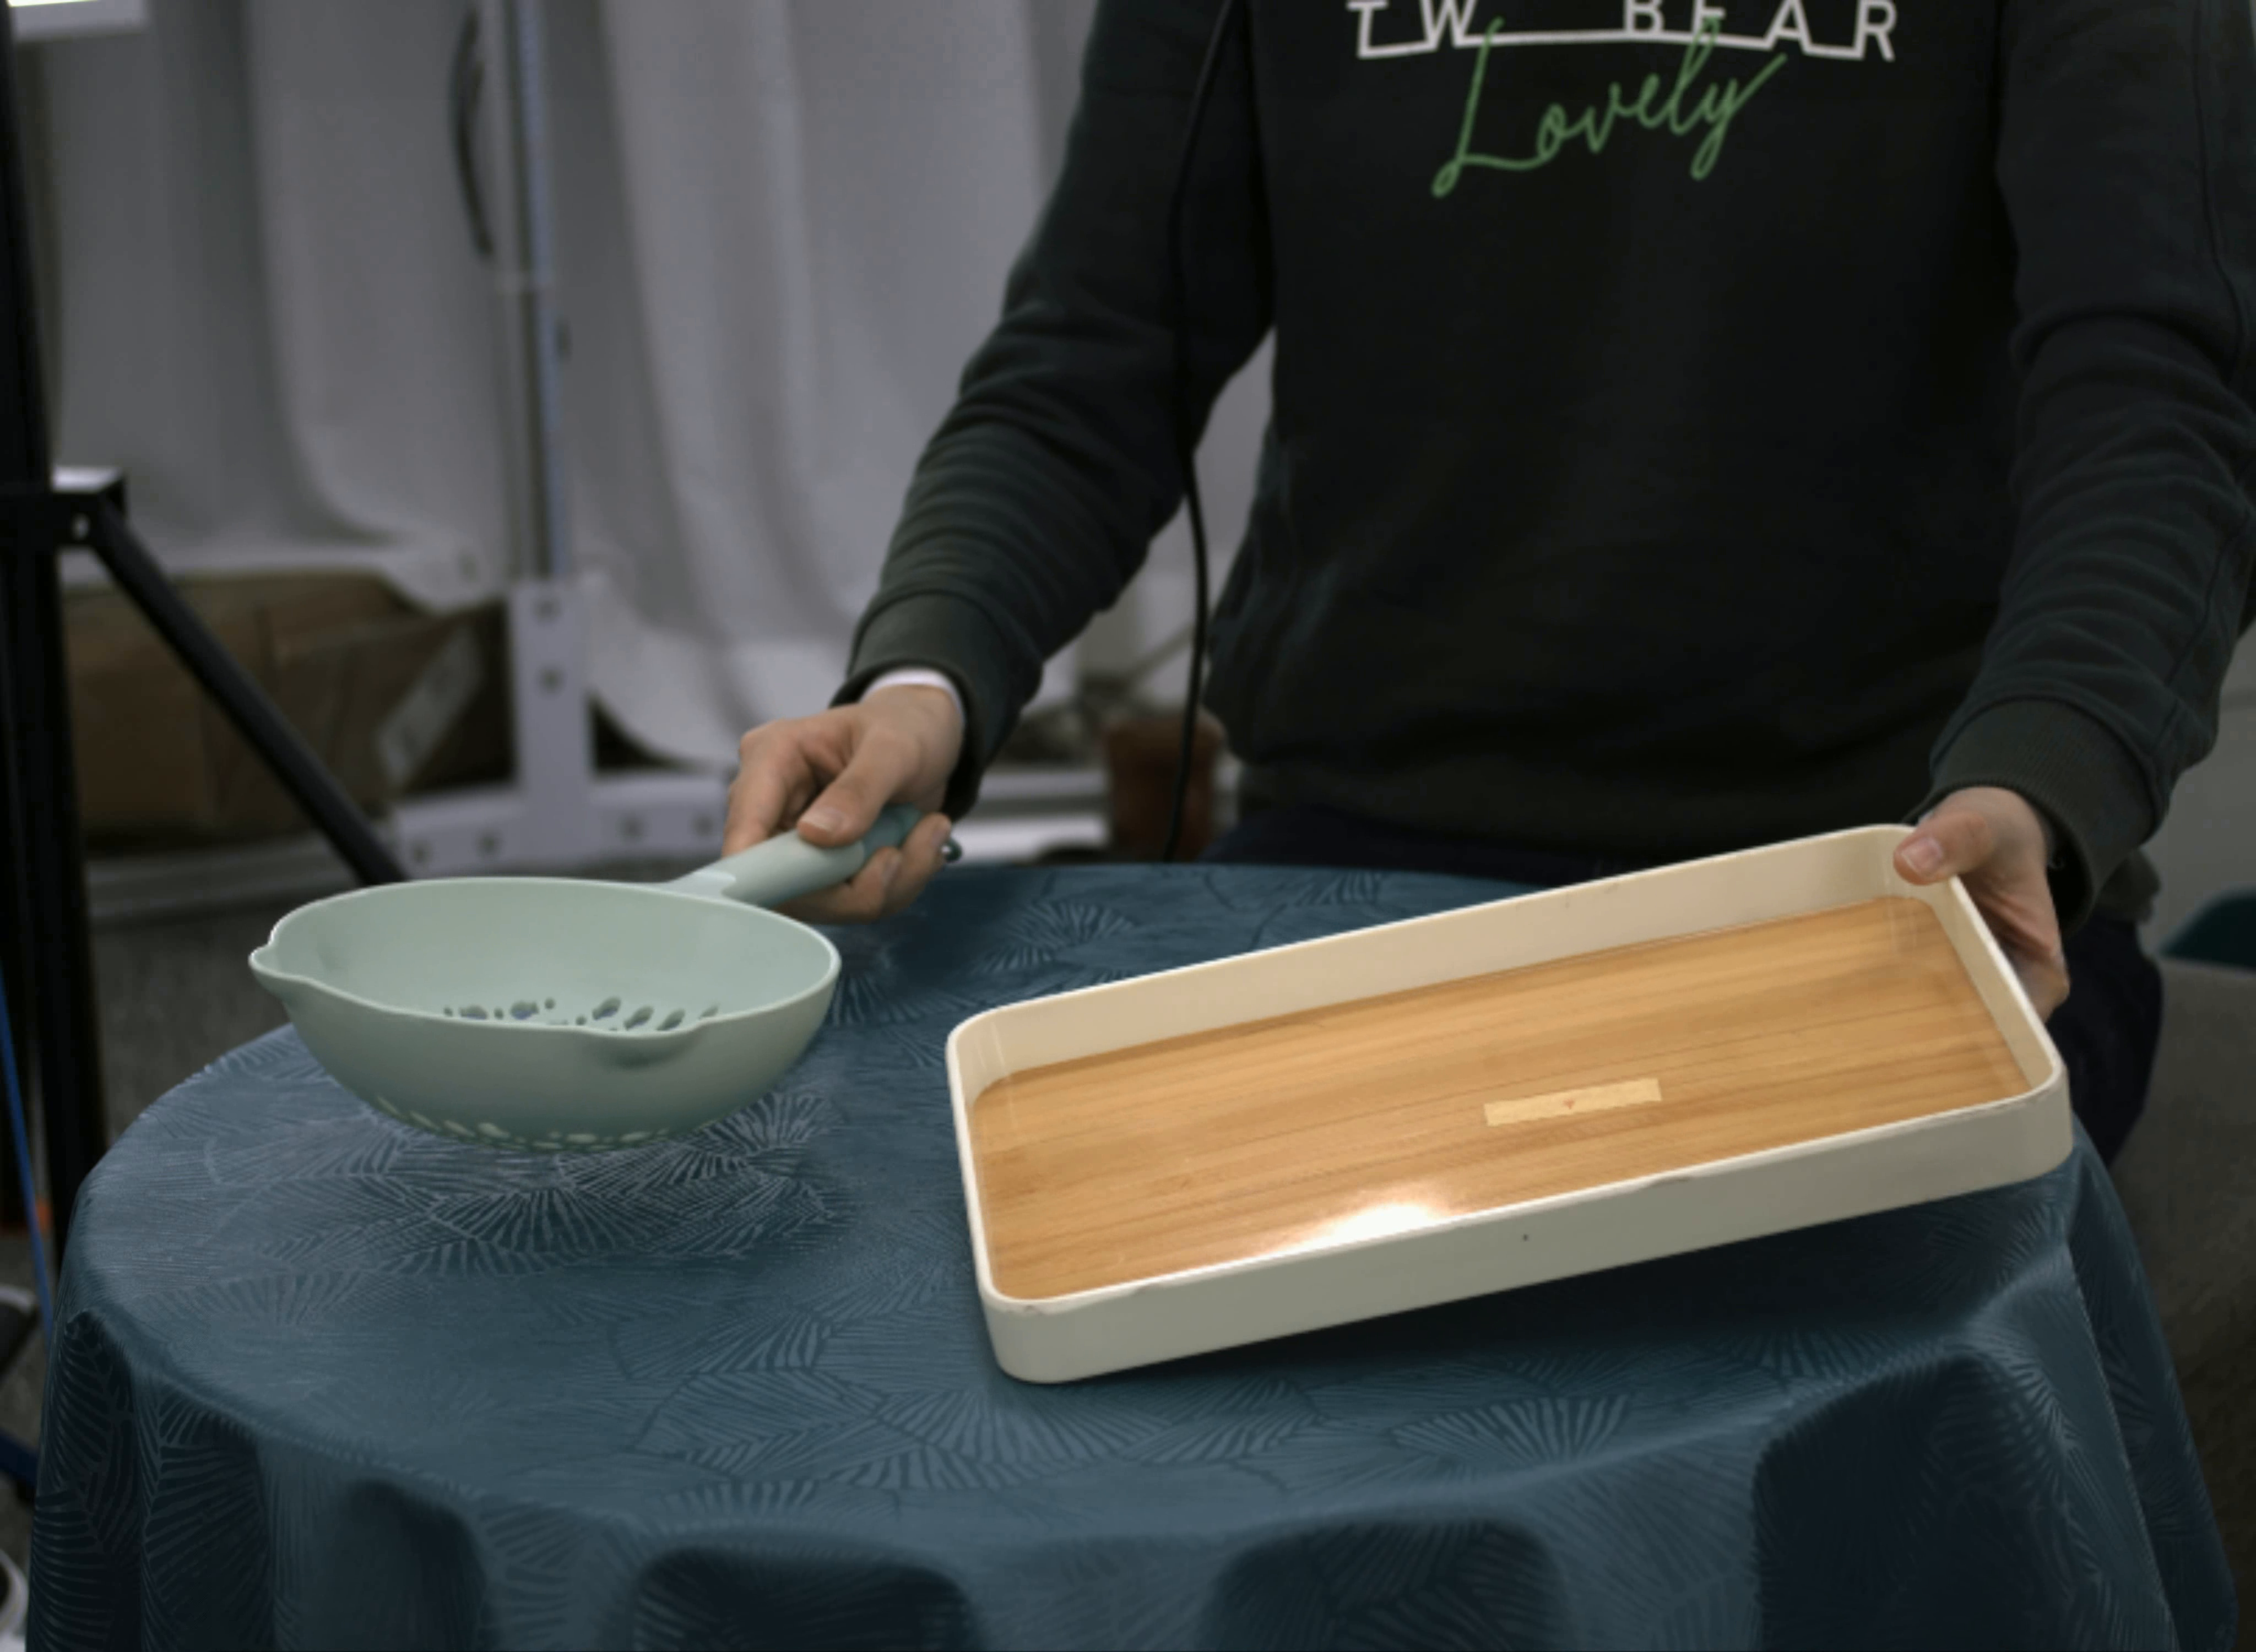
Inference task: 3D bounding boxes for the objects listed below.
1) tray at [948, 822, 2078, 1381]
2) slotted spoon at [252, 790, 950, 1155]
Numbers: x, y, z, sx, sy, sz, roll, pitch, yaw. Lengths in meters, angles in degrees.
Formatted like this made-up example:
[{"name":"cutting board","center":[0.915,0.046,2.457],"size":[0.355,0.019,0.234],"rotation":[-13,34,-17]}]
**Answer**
[{"name":"tray","center":[0.102,0.075,1.491],"size":[0.299,0.027,0.193],"rotation":[-11,24,1]},{"name":"slotted spoon","center":[-0.133,0.030,1.668],"size":[0.171,0.075,0.354],"rotation":[9,22,20]}]
